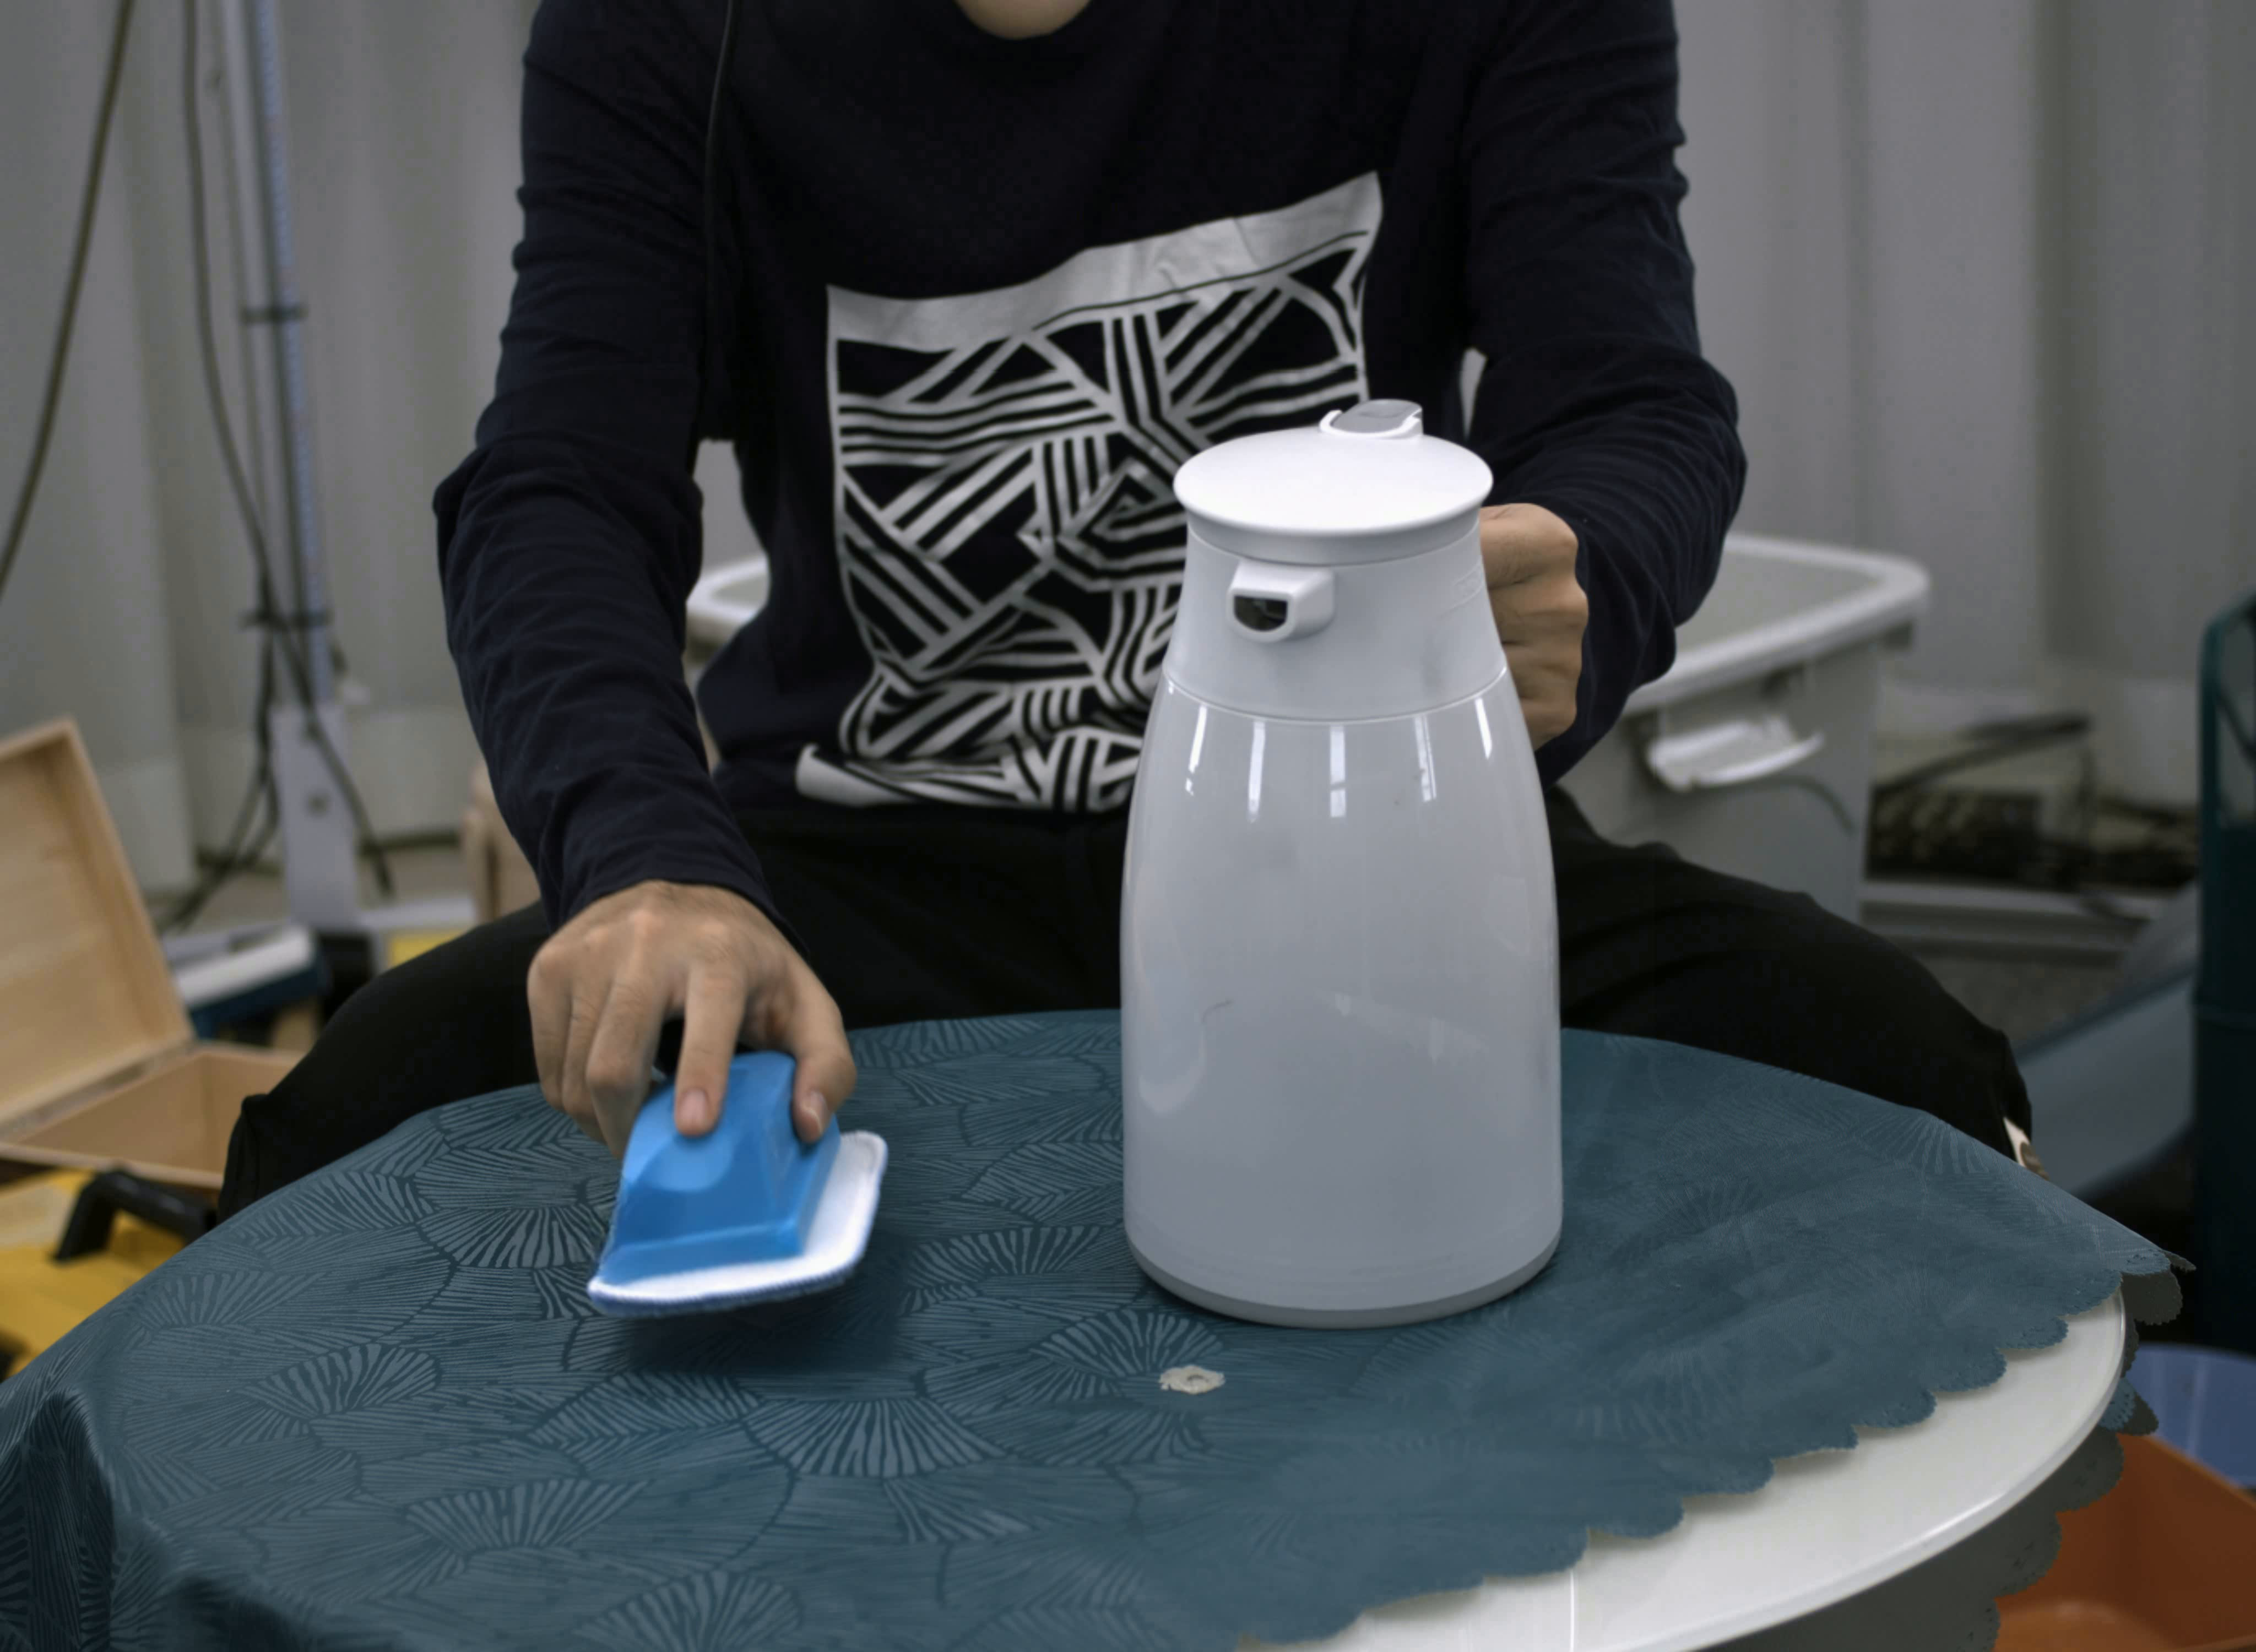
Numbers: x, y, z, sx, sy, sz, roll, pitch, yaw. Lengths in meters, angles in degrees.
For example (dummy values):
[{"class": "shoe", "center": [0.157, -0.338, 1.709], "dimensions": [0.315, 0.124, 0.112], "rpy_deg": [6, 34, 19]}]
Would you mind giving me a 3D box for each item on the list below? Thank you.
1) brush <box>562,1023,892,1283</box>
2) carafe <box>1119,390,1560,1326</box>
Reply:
[{"class": "brush", "center": [-0.120, 0.095, 1.633], "dimensions": [0.083, 0.056, 0.145], "rpy_deg": [-7, 13, 7]}, {"class": "carafe", "center": [0.066, -0.001, 1.618], "dimensions": [0.132, 0.247, 0.168], "rpy_deg": [5, 22, 18]}]
